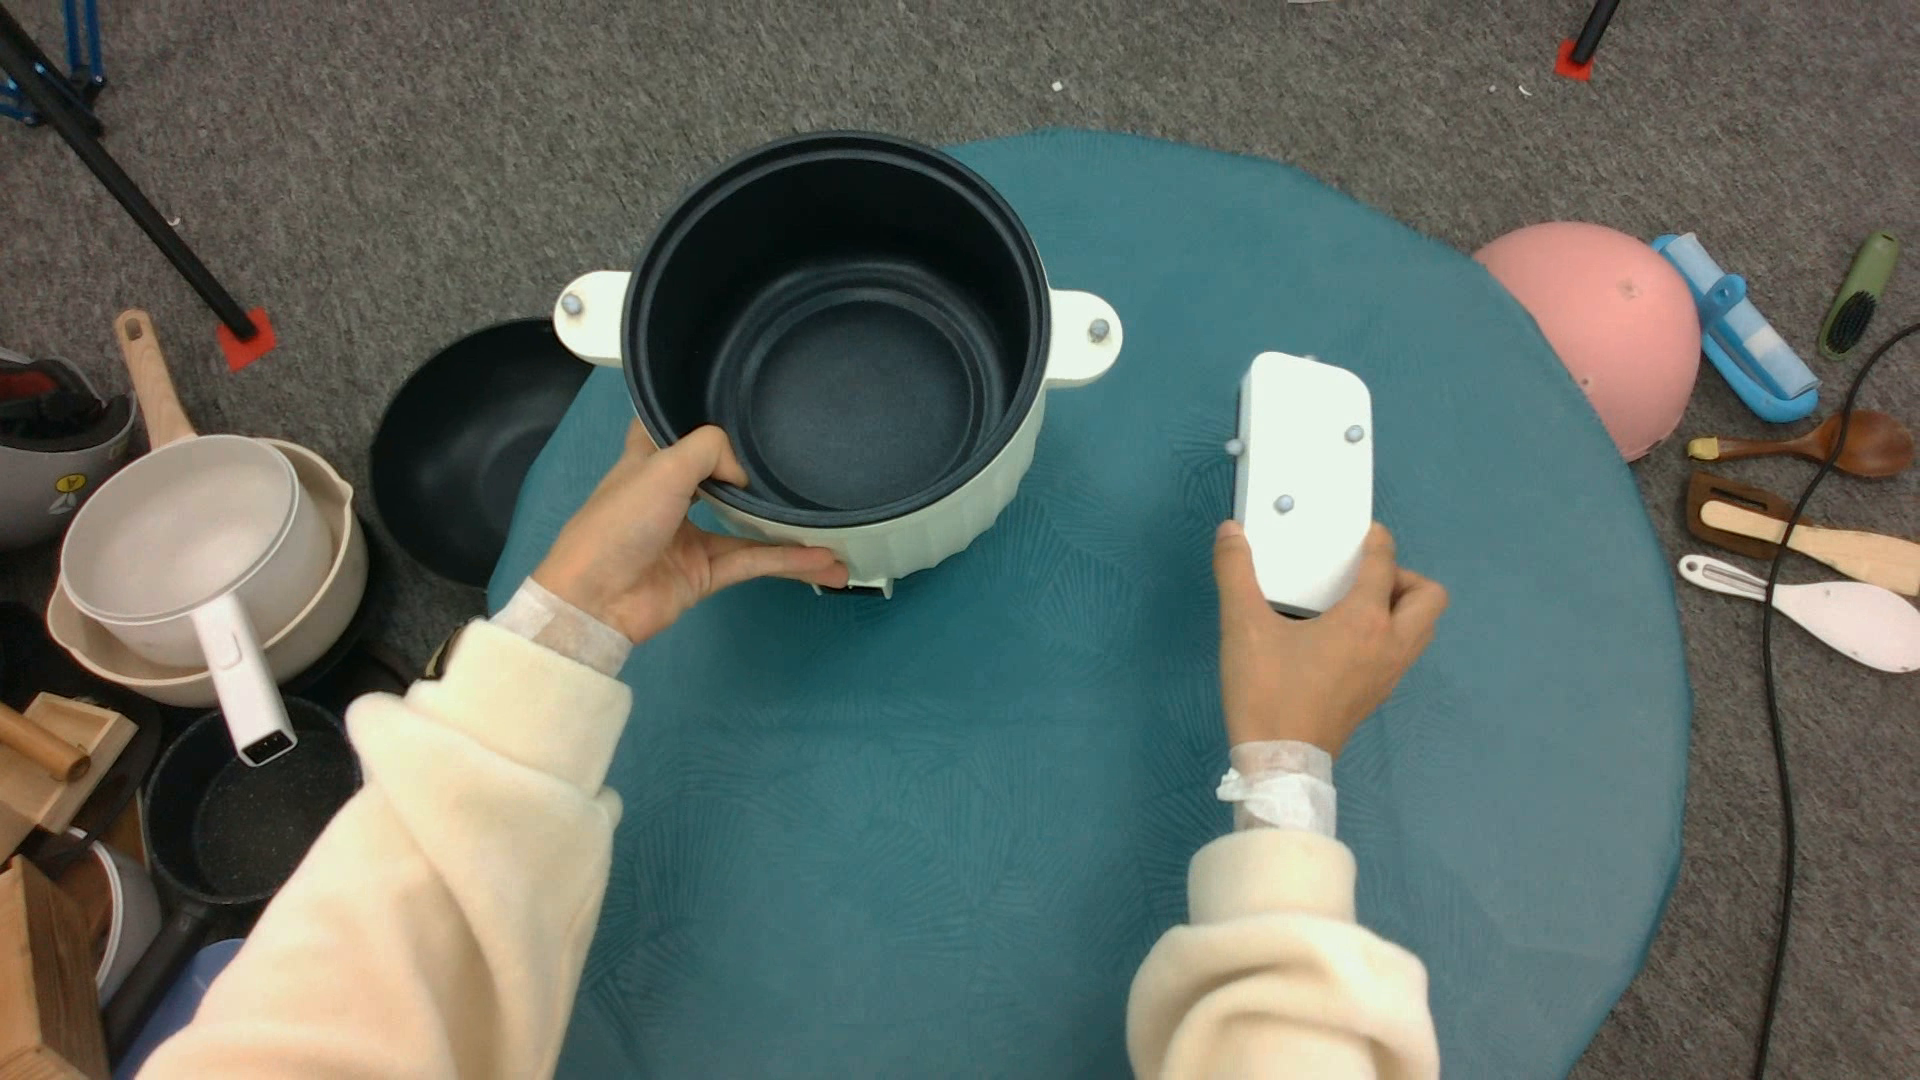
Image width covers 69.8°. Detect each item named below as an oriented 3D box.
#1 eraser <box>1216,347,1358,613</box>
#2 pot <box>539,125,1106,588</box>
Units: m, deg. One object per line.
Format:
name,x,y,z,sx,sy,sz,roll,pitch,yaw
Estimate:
eraser,0.155,-0.031,0.659,0.063,0.034,0.132,12,66,-7
pot,-0.058,-0.082,0.642,0.240,0.142,0.191,2,76,1
